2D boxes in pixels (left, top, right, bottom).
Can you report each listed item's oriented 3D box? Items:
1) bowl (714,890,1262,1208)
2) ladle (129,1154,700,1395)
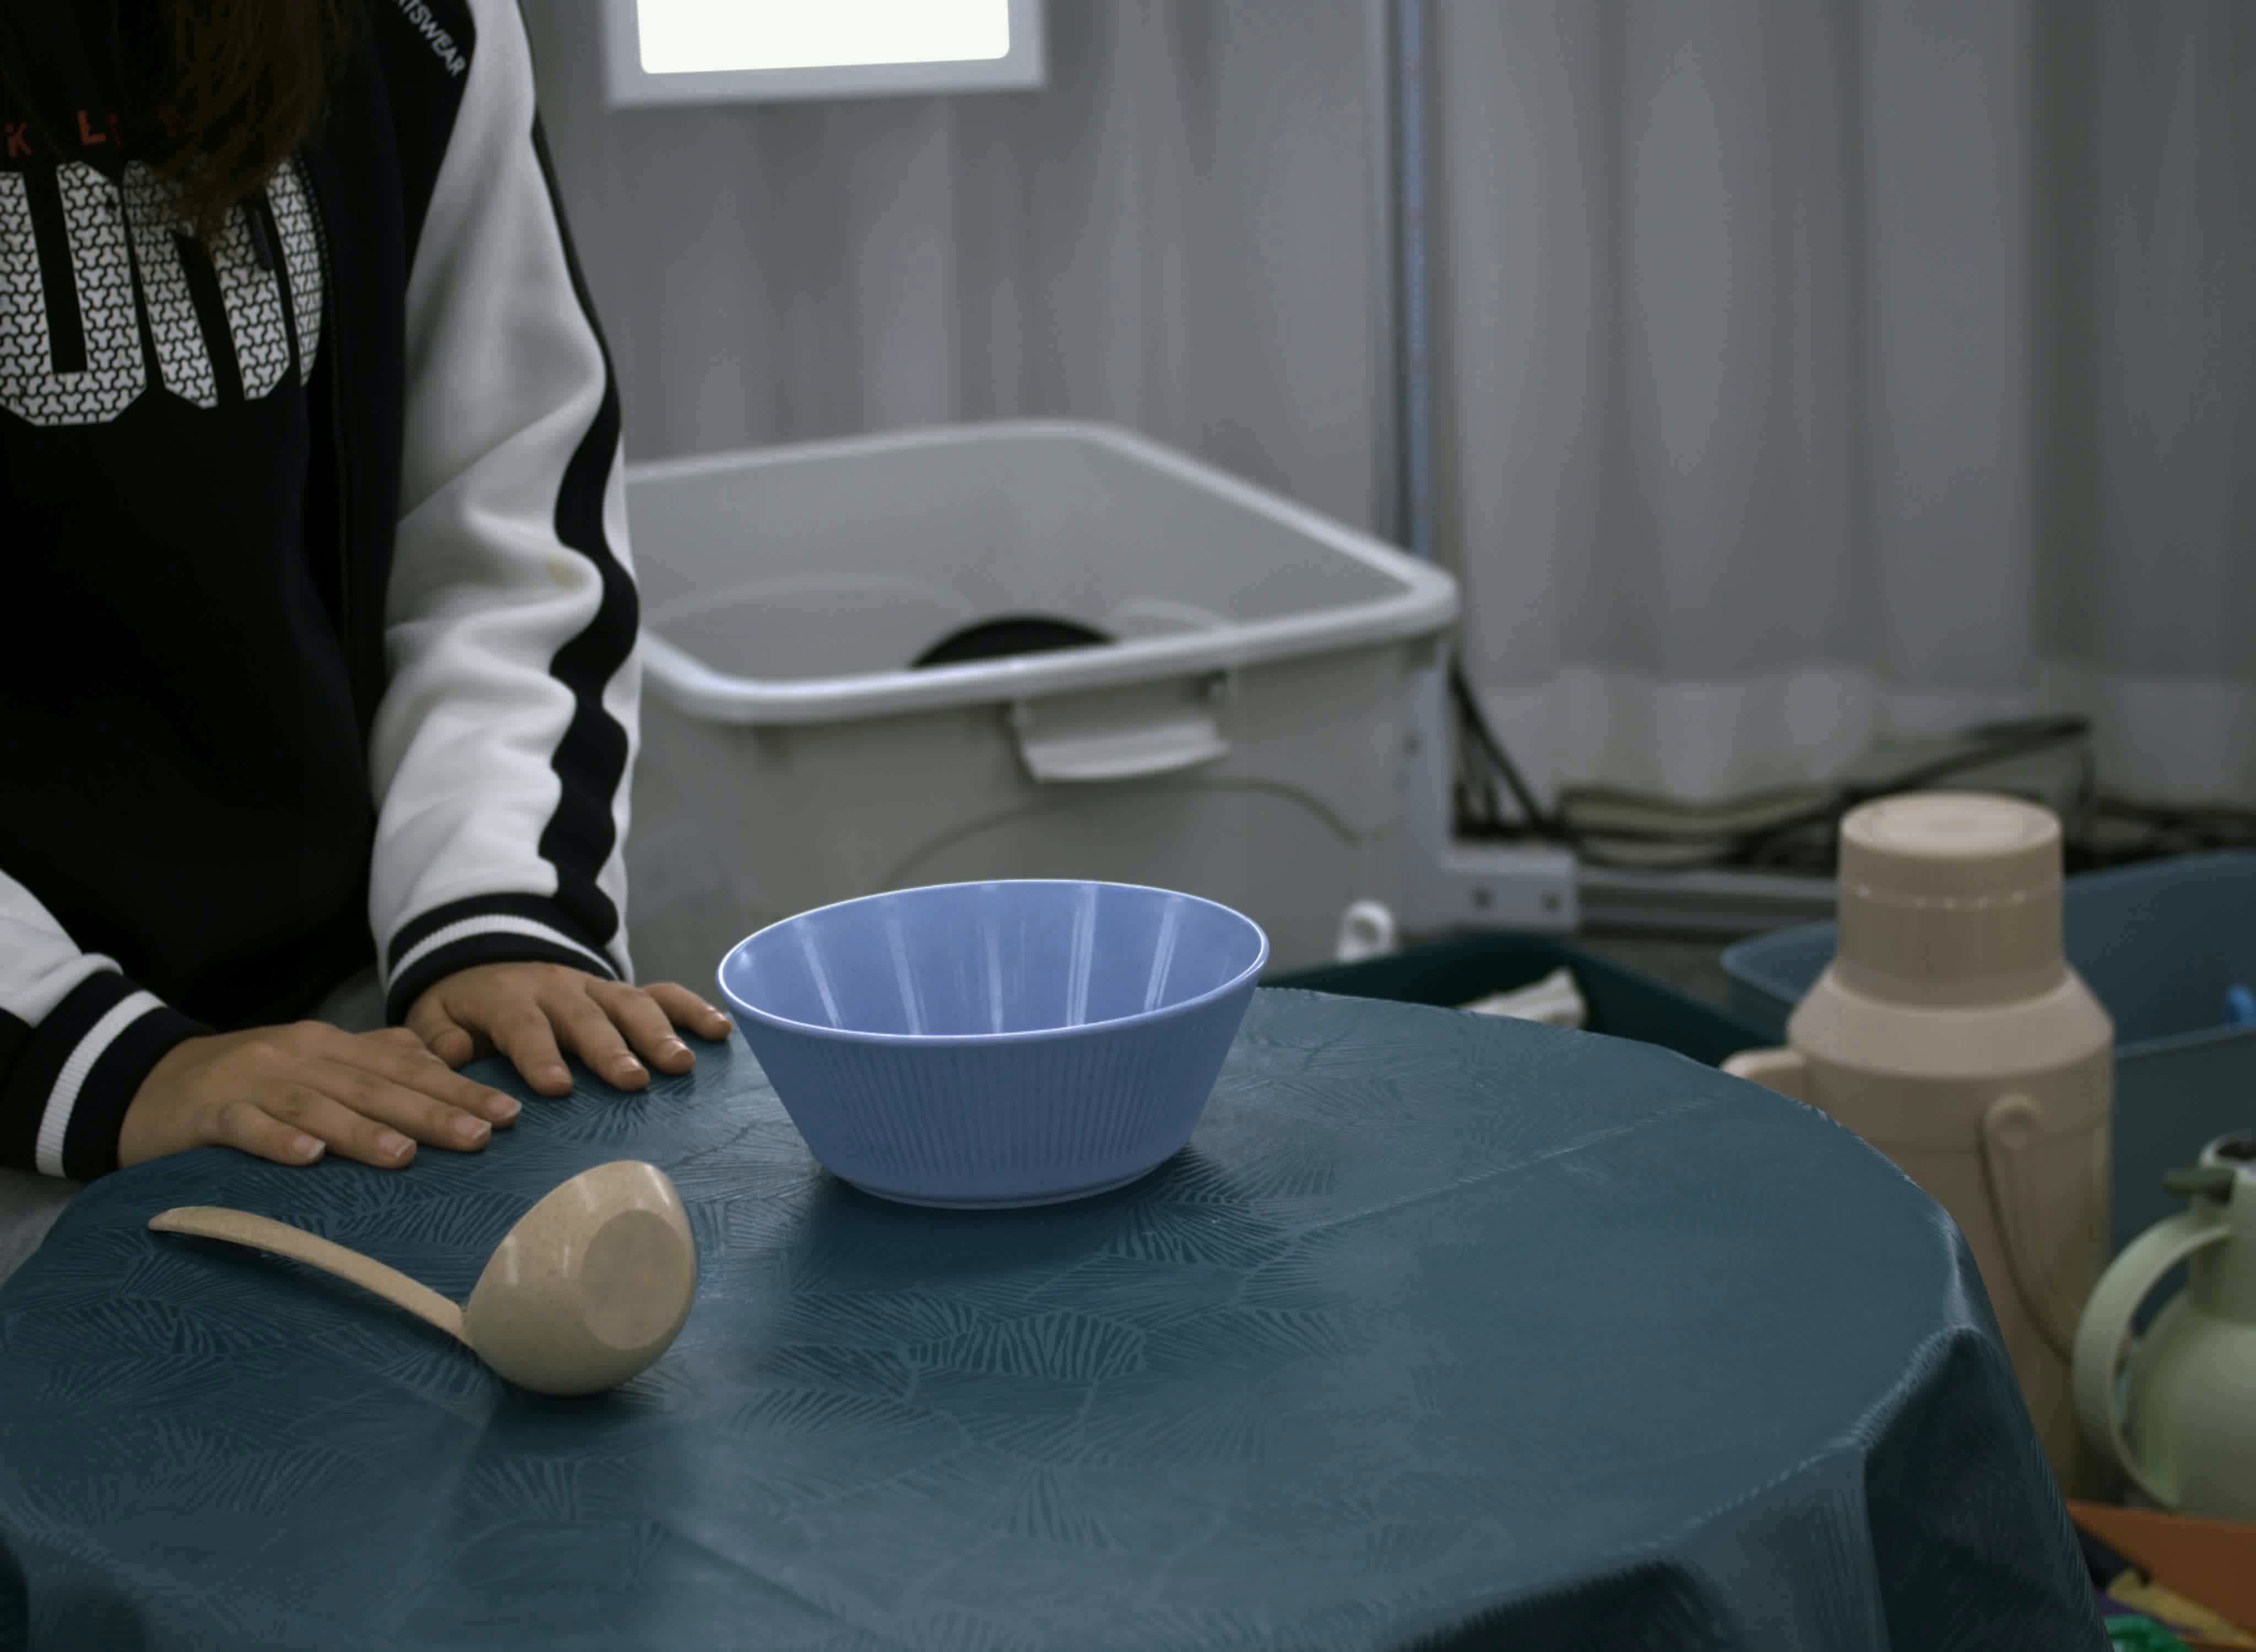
[{"bbox_3d":[-0.043,0.073,1.745,0.175,0.070,0.177,-2,14,0],"label":"bowl"},{"bbox_3d":[-0.224,0.112,1.628,0.072,0.072,0.256,-14,18,-42],"label":"ladle"}]
